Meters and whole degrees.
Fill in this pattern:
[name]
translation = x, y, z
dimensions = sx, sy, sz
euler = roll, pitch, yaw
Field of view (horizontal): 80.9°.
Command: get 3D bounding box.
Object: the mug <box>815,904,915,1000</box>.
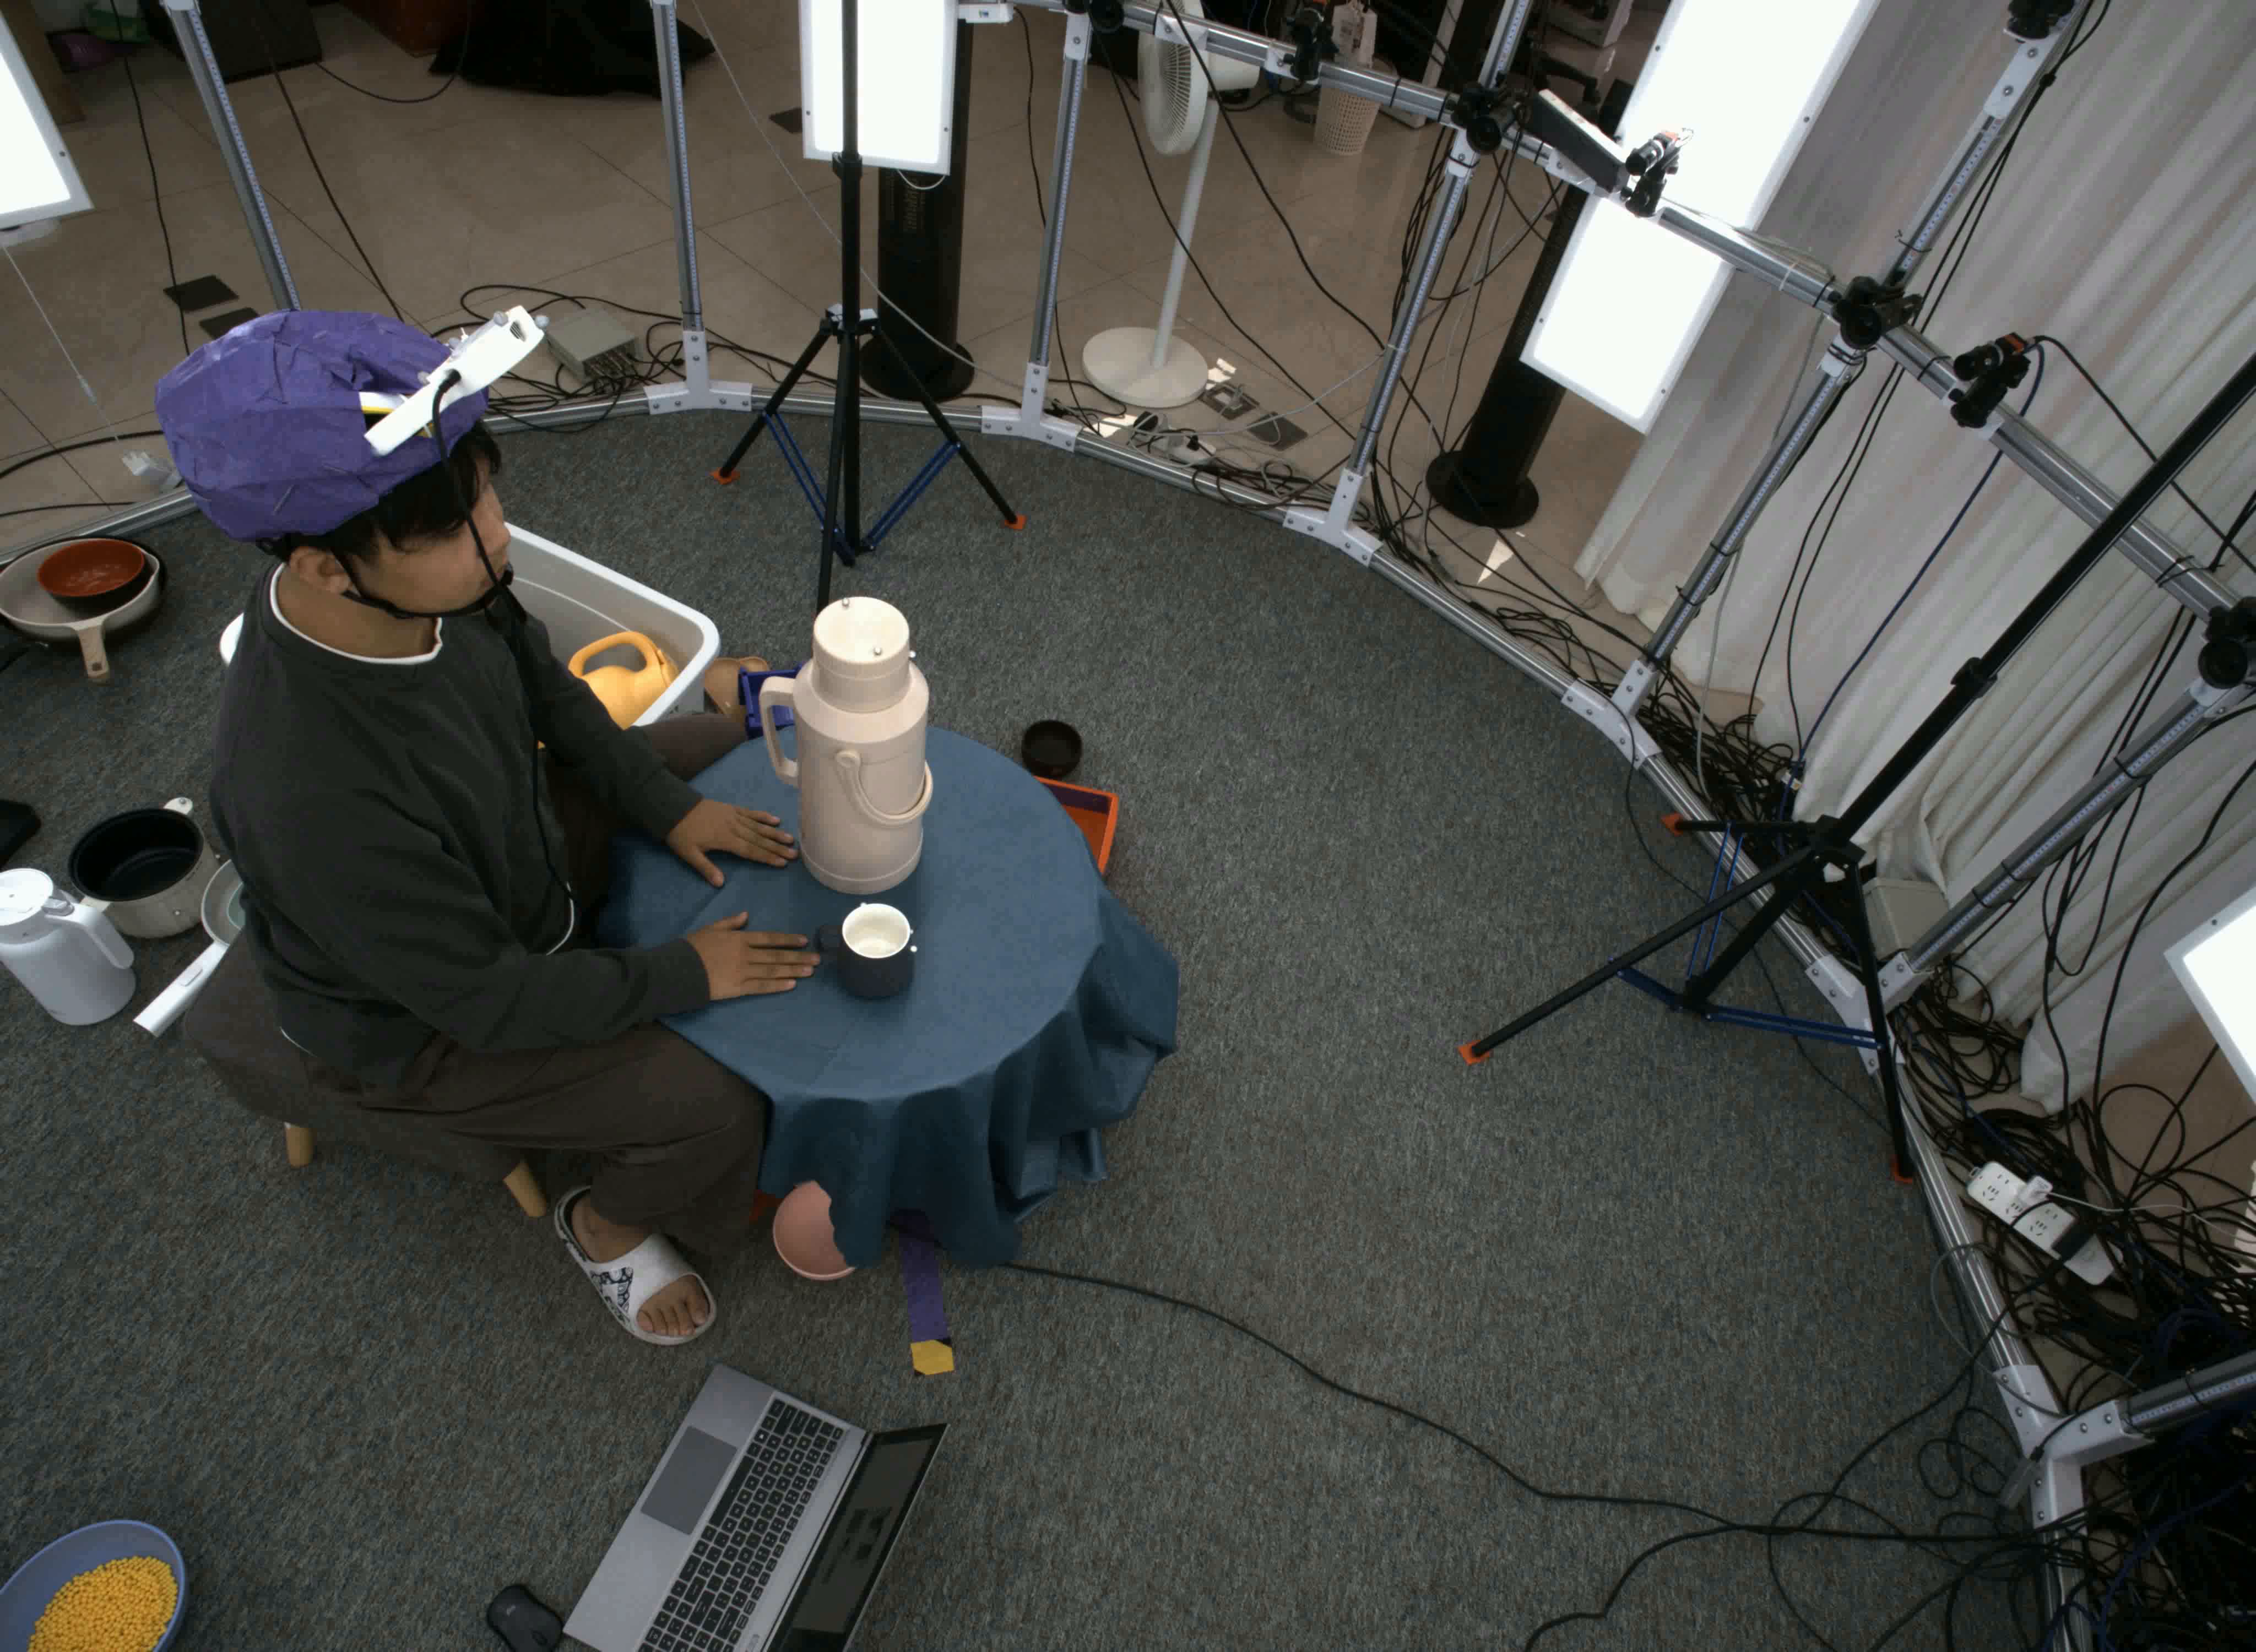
[mug]
translation = -0.320, 0.147, 1.577
dimensions = 0.122, 0.092, 0.092
euler = 13, 51, -3

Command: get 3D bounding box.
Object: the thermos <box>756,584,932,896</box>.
[thermos]
translation = -0.337, -0.101, 1.561
dimensions = 0.206, 0.415, 0.172
euler = 7, 51, -6
